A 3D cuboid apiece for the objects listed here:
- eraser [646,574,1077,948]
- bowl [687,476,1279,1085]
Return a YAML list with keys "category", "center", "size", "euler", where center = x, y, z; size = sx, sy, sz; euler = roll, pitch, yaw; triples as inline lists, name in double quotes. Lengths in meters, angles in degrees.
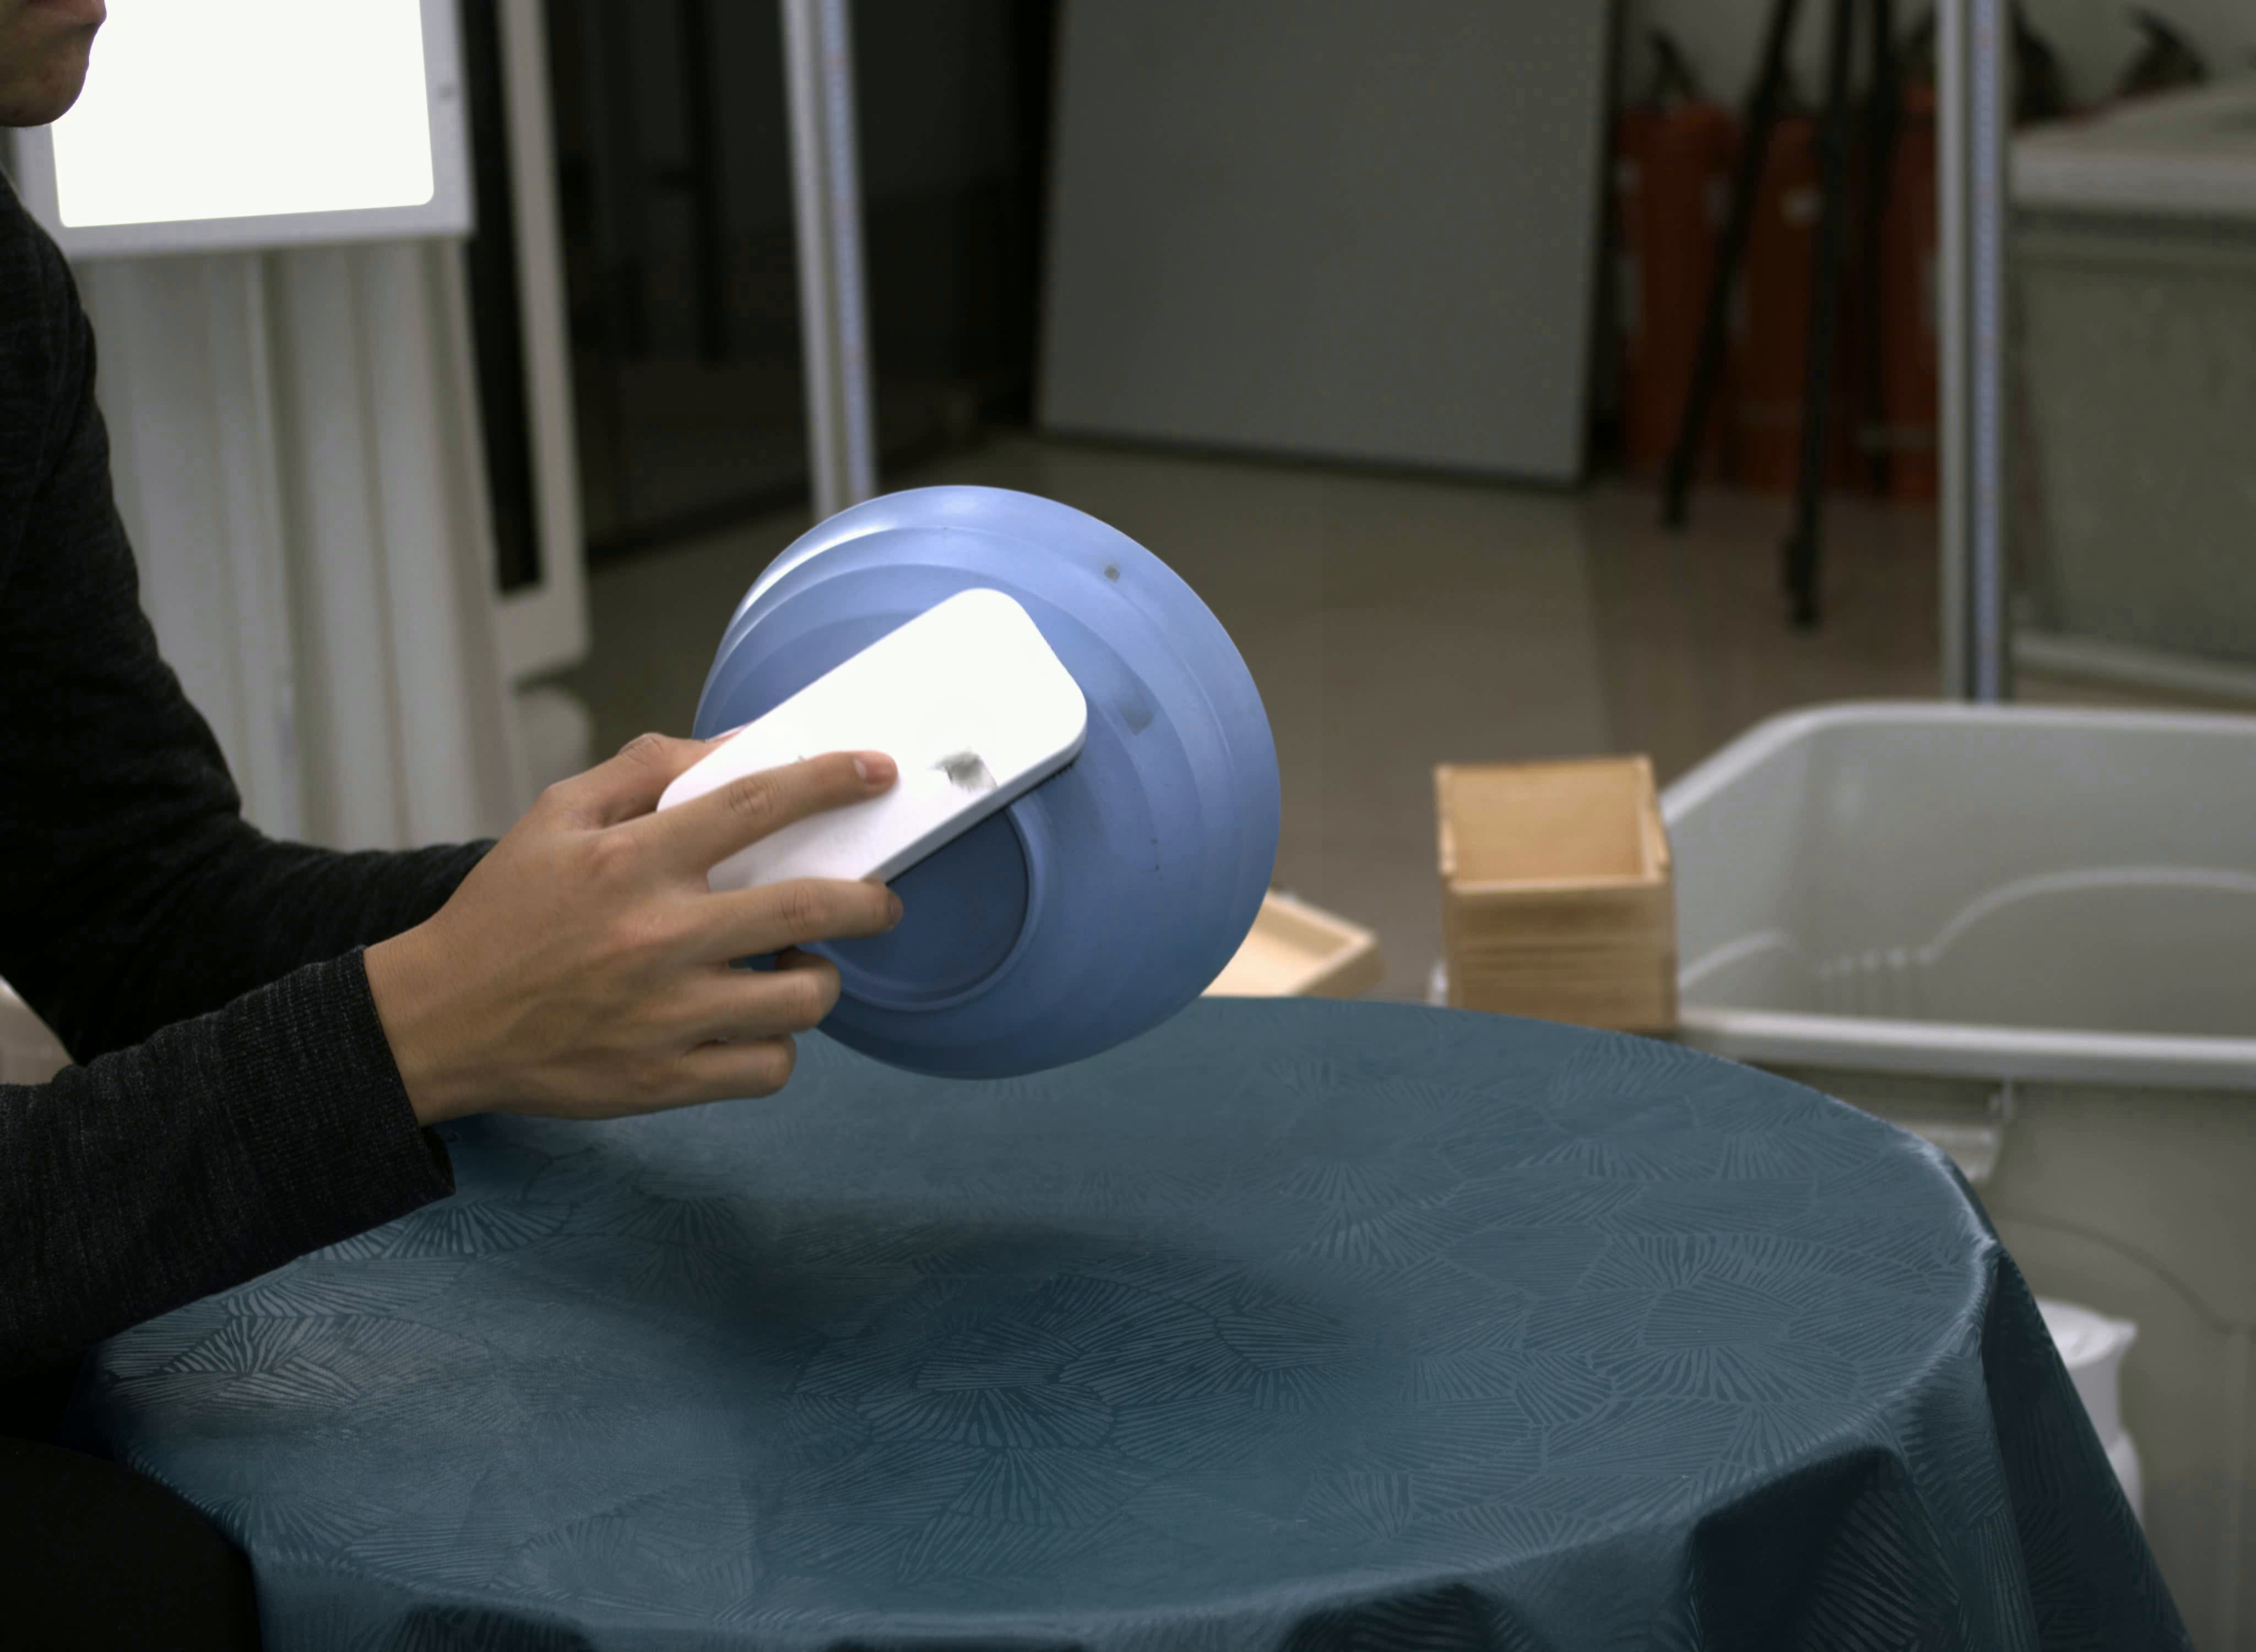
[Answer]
- category: "eraser"
  center: [-0.079, -0.020, 1.612]
  size: [0.130, 0.064, 0.034]
  euler: [-34, -23, -6]
- category: "bowl"
  center: [-0.058, -0.001, 1.686]
  size: [0.196, 0.198, 0.094]
  euler: [1, 19, 19]
